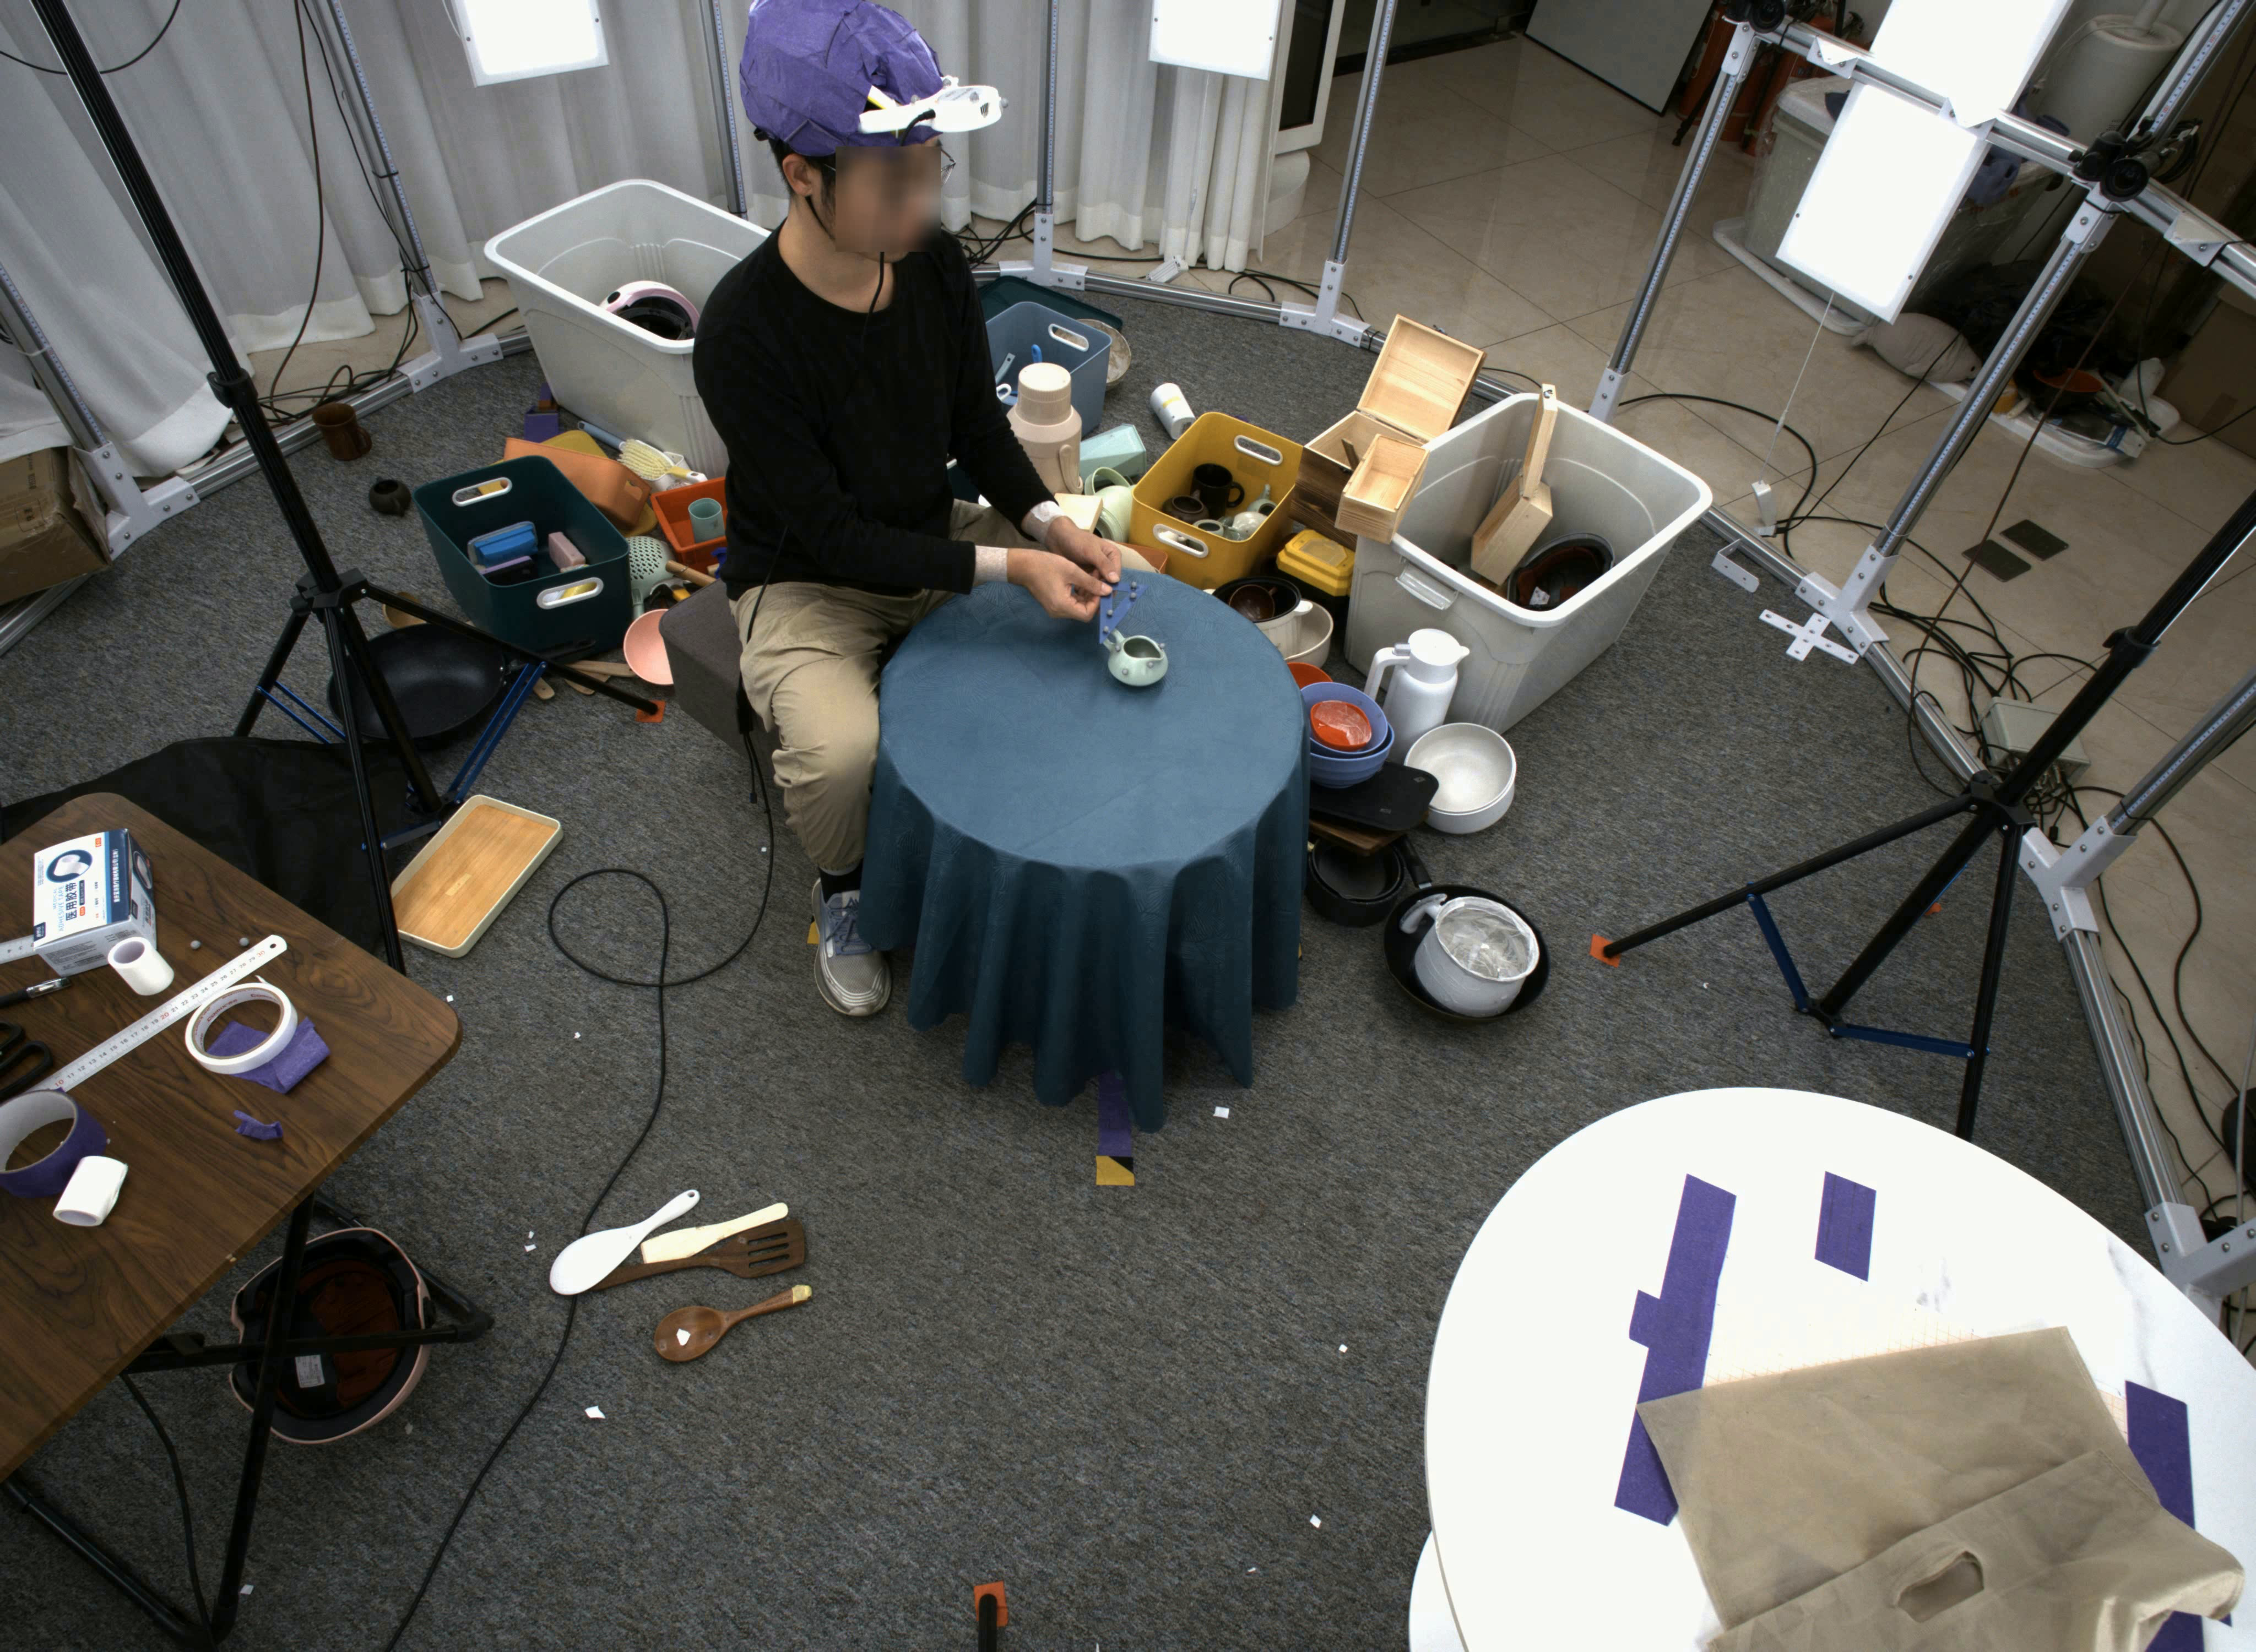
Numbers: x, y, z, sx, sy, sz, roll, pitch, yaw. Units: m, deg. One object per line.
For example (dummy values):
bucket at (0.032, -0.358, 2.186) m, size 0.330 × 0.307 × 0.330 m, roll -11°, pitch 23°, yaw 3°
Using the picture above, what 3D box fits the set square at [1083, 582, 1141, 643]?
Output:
set square at (-0.040, -0.313, 1.832) m, size 0.061 × 0.006 × 0.134 m, roll 32°, pitch 58°, yaw 14°

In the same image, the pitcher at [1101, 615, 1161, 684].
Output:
pitcher at (-0.001, -0.256, 1.848) m, size 0.086 × 0.059 × 0.109 m, roll -33°, pitch 75°, yaw -17°
